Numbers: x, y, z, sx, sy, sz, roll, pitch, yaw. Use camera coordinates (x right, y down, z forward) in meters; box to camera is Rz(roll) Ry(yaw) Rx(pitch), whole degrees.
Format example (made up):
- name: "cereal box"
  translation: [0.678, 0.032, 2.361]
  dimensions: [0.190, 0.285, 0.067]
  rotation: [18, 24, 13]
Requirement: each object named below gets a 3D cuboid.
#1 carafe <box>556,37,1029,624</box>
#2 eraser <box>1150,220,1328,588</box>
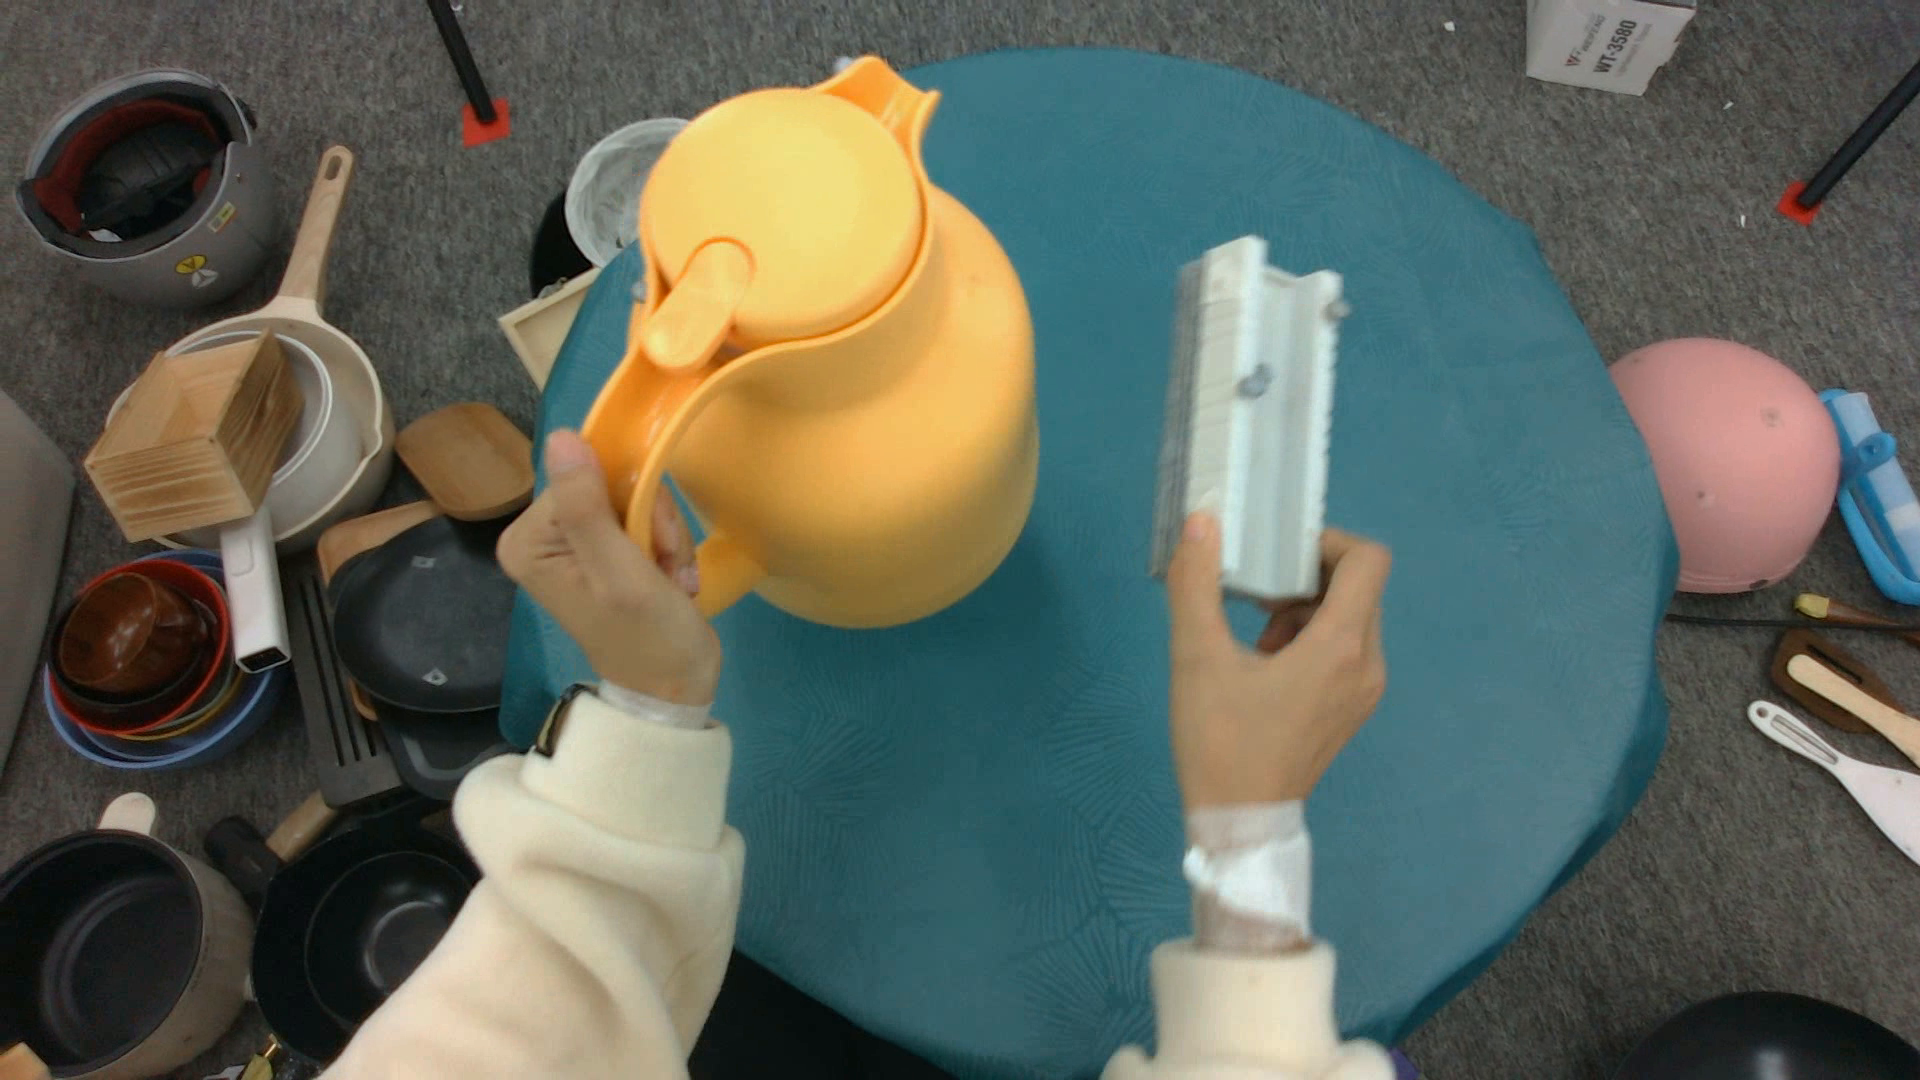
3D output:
- name: "carafe"
  translation: [-0.066, -0.060, 0.551]
  dimensions: [0.163, 0.259, 0.203]
  rotation: [33, 73, 16]
- name: "eraser"
  translation: [0.108, -0.051, 0.539]
  dimensions: [0.050, 0.046, 0.134]
  rotation: [15, 75, -33]
